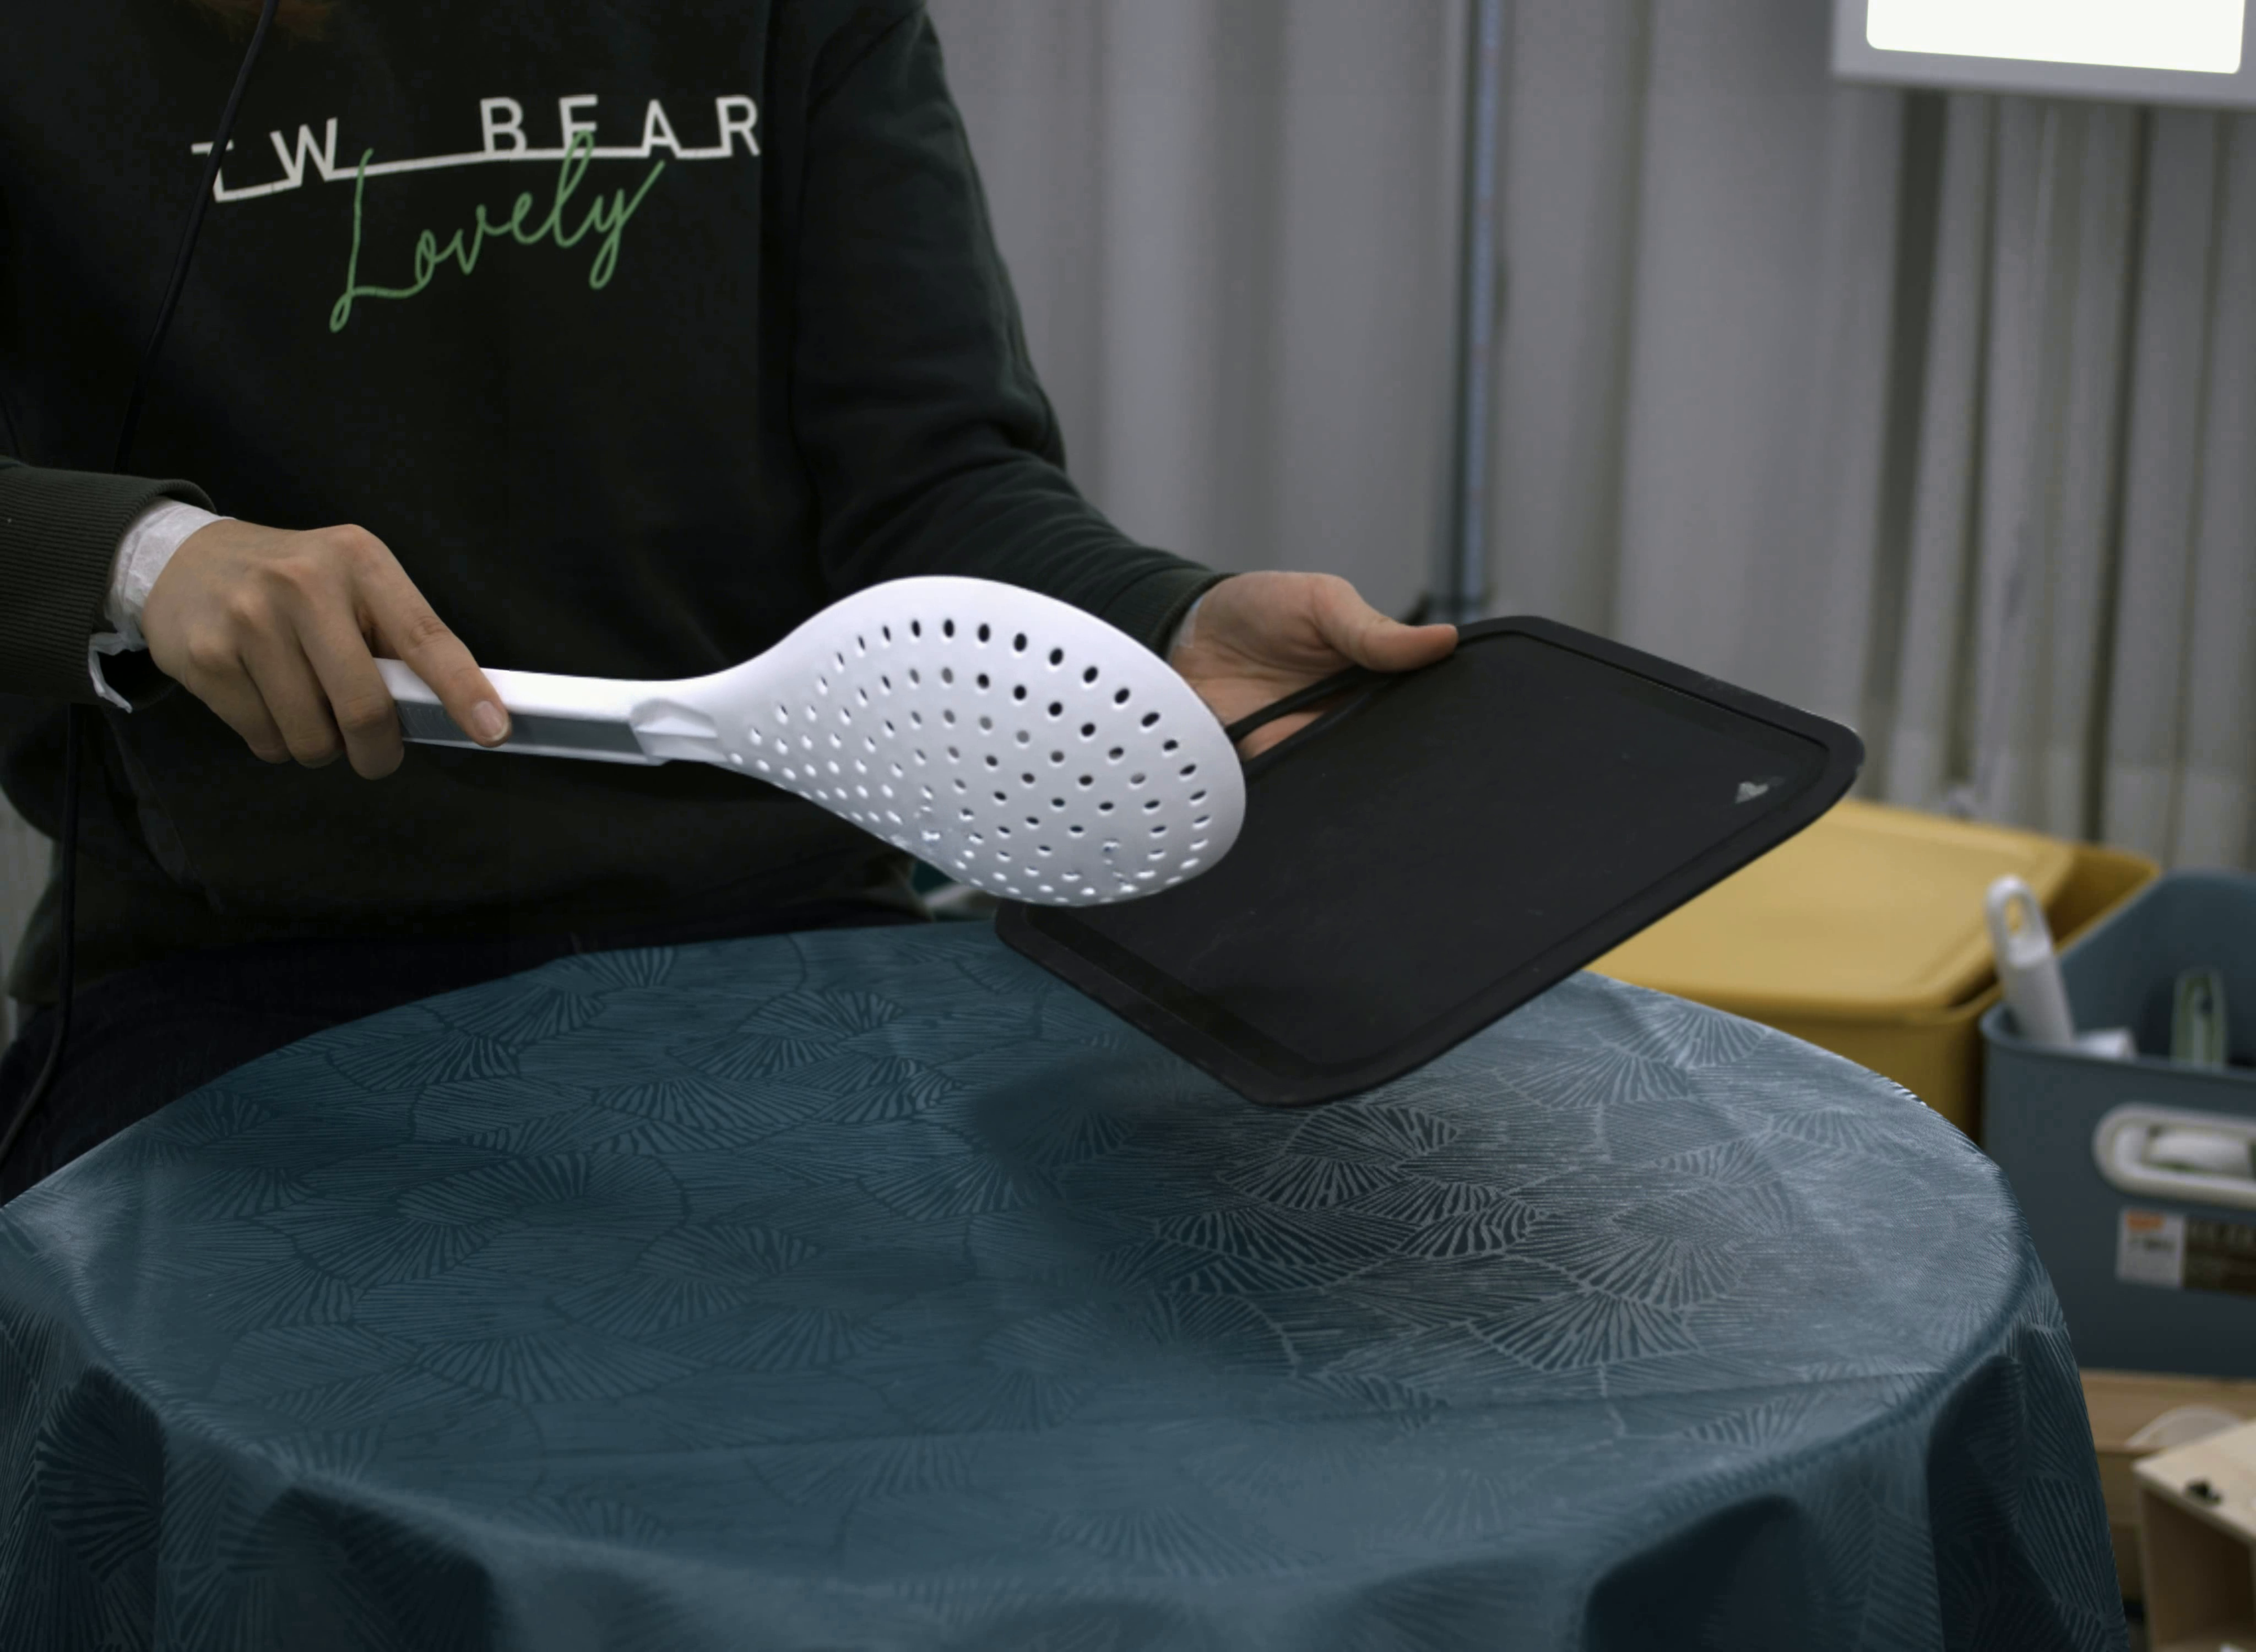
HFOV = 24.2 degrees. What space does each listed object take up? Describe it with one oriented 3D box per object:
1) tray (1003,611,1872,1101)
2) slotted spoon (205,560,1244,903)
[{"bbox_3d":[0.082,0.001,1.612,0.211,0.010,0.322,-31,20,-12],"label":"tray"},{"bbox_3d":[-0.129,-0.032,1.571,0.346,0.138,0.045,9,52,28],"label":"slotted spoon"}]
